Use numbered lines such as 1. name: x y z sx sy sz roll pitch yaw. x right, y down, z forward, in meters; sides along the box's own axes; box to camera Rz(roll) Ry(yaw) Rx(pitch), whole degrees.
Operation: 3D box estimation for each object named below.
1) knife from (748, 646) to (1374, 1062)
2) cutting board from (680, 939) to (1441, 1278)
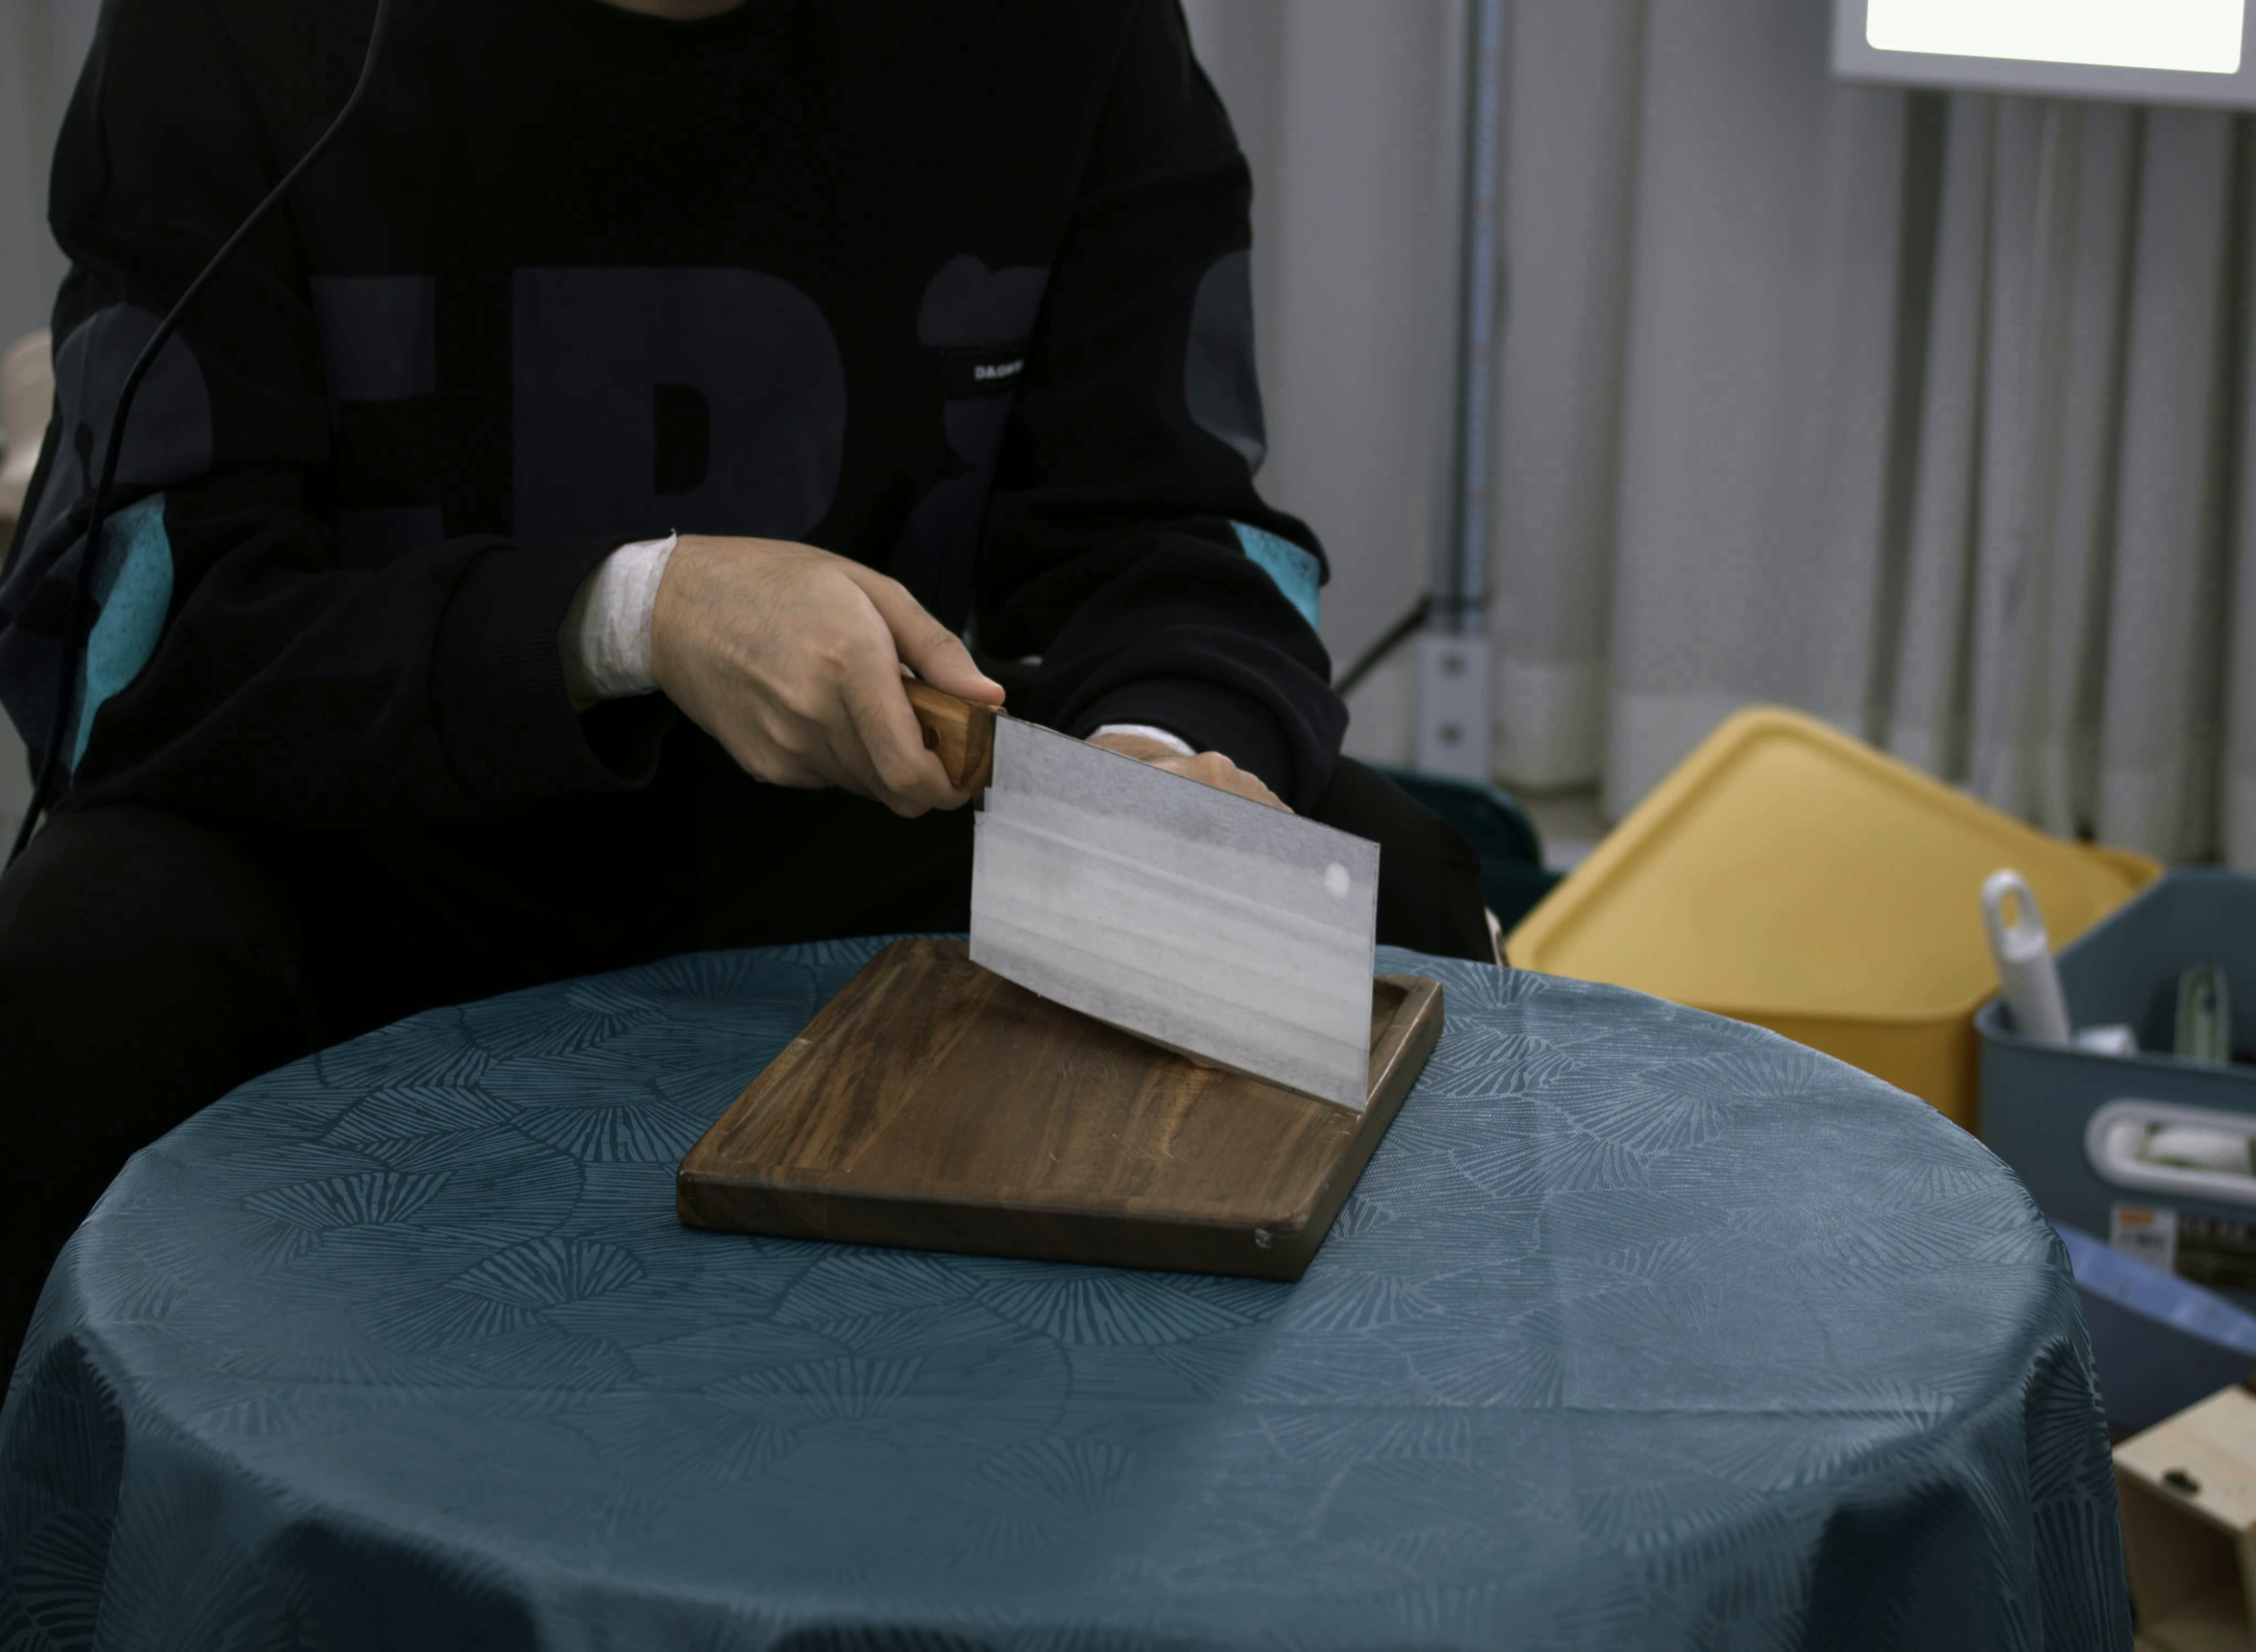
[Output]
1. knife: -0.026 0.010 1.720 0.021 0.094 0.301 -14 23 -40
2. cutting board: -0.004 0.073 1.723 0.199 0.023 0.351 4 16 12
